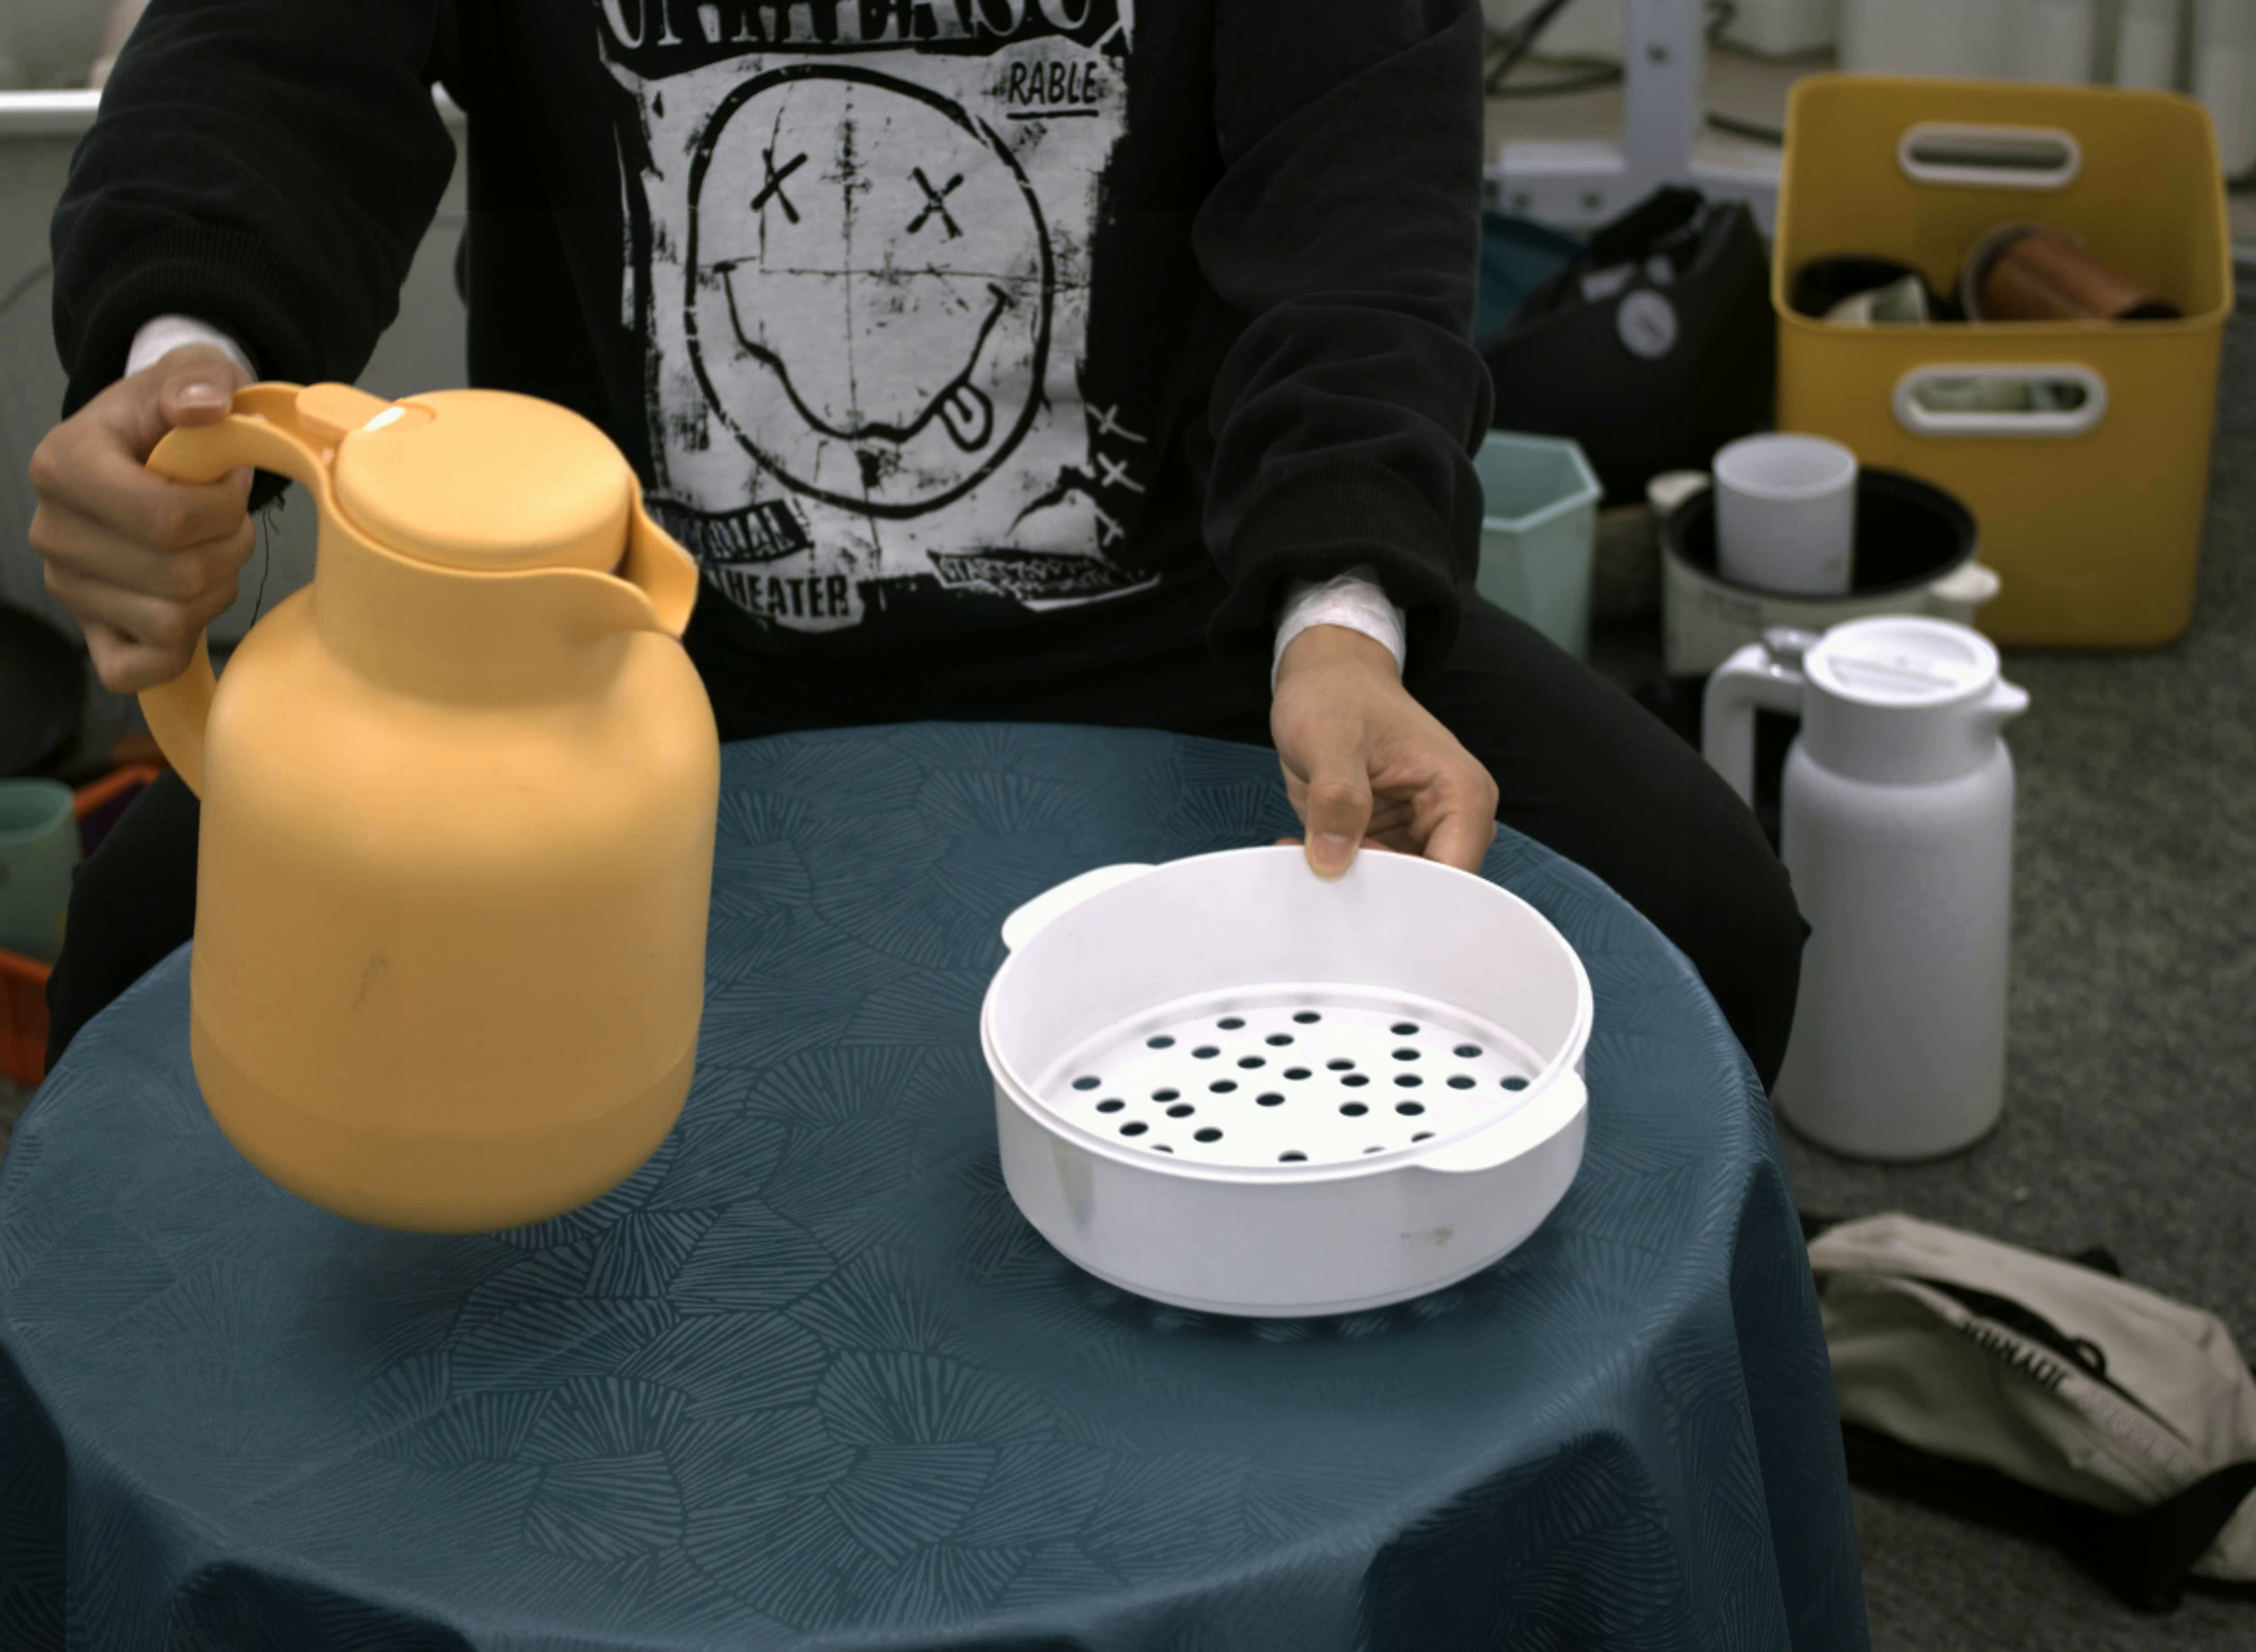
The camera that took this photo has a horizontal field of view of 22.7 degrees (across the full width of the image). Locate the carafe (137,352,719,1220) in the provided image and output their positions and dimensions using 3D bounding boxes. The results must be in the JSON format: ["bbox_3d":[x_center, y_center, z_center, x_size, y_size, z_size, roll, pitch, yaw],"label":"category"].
[{"bbox_3d":[-0.225,-0.023,1.764,0.202,0.256,0.166,27,35,21],"label":"carafe"}]

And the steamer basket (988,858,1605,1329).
[{"bbox_3d":[0.056,0.088,1.837,0.204,0.068,0.230,-27,37,-35],"label":"steamer basket"}]
